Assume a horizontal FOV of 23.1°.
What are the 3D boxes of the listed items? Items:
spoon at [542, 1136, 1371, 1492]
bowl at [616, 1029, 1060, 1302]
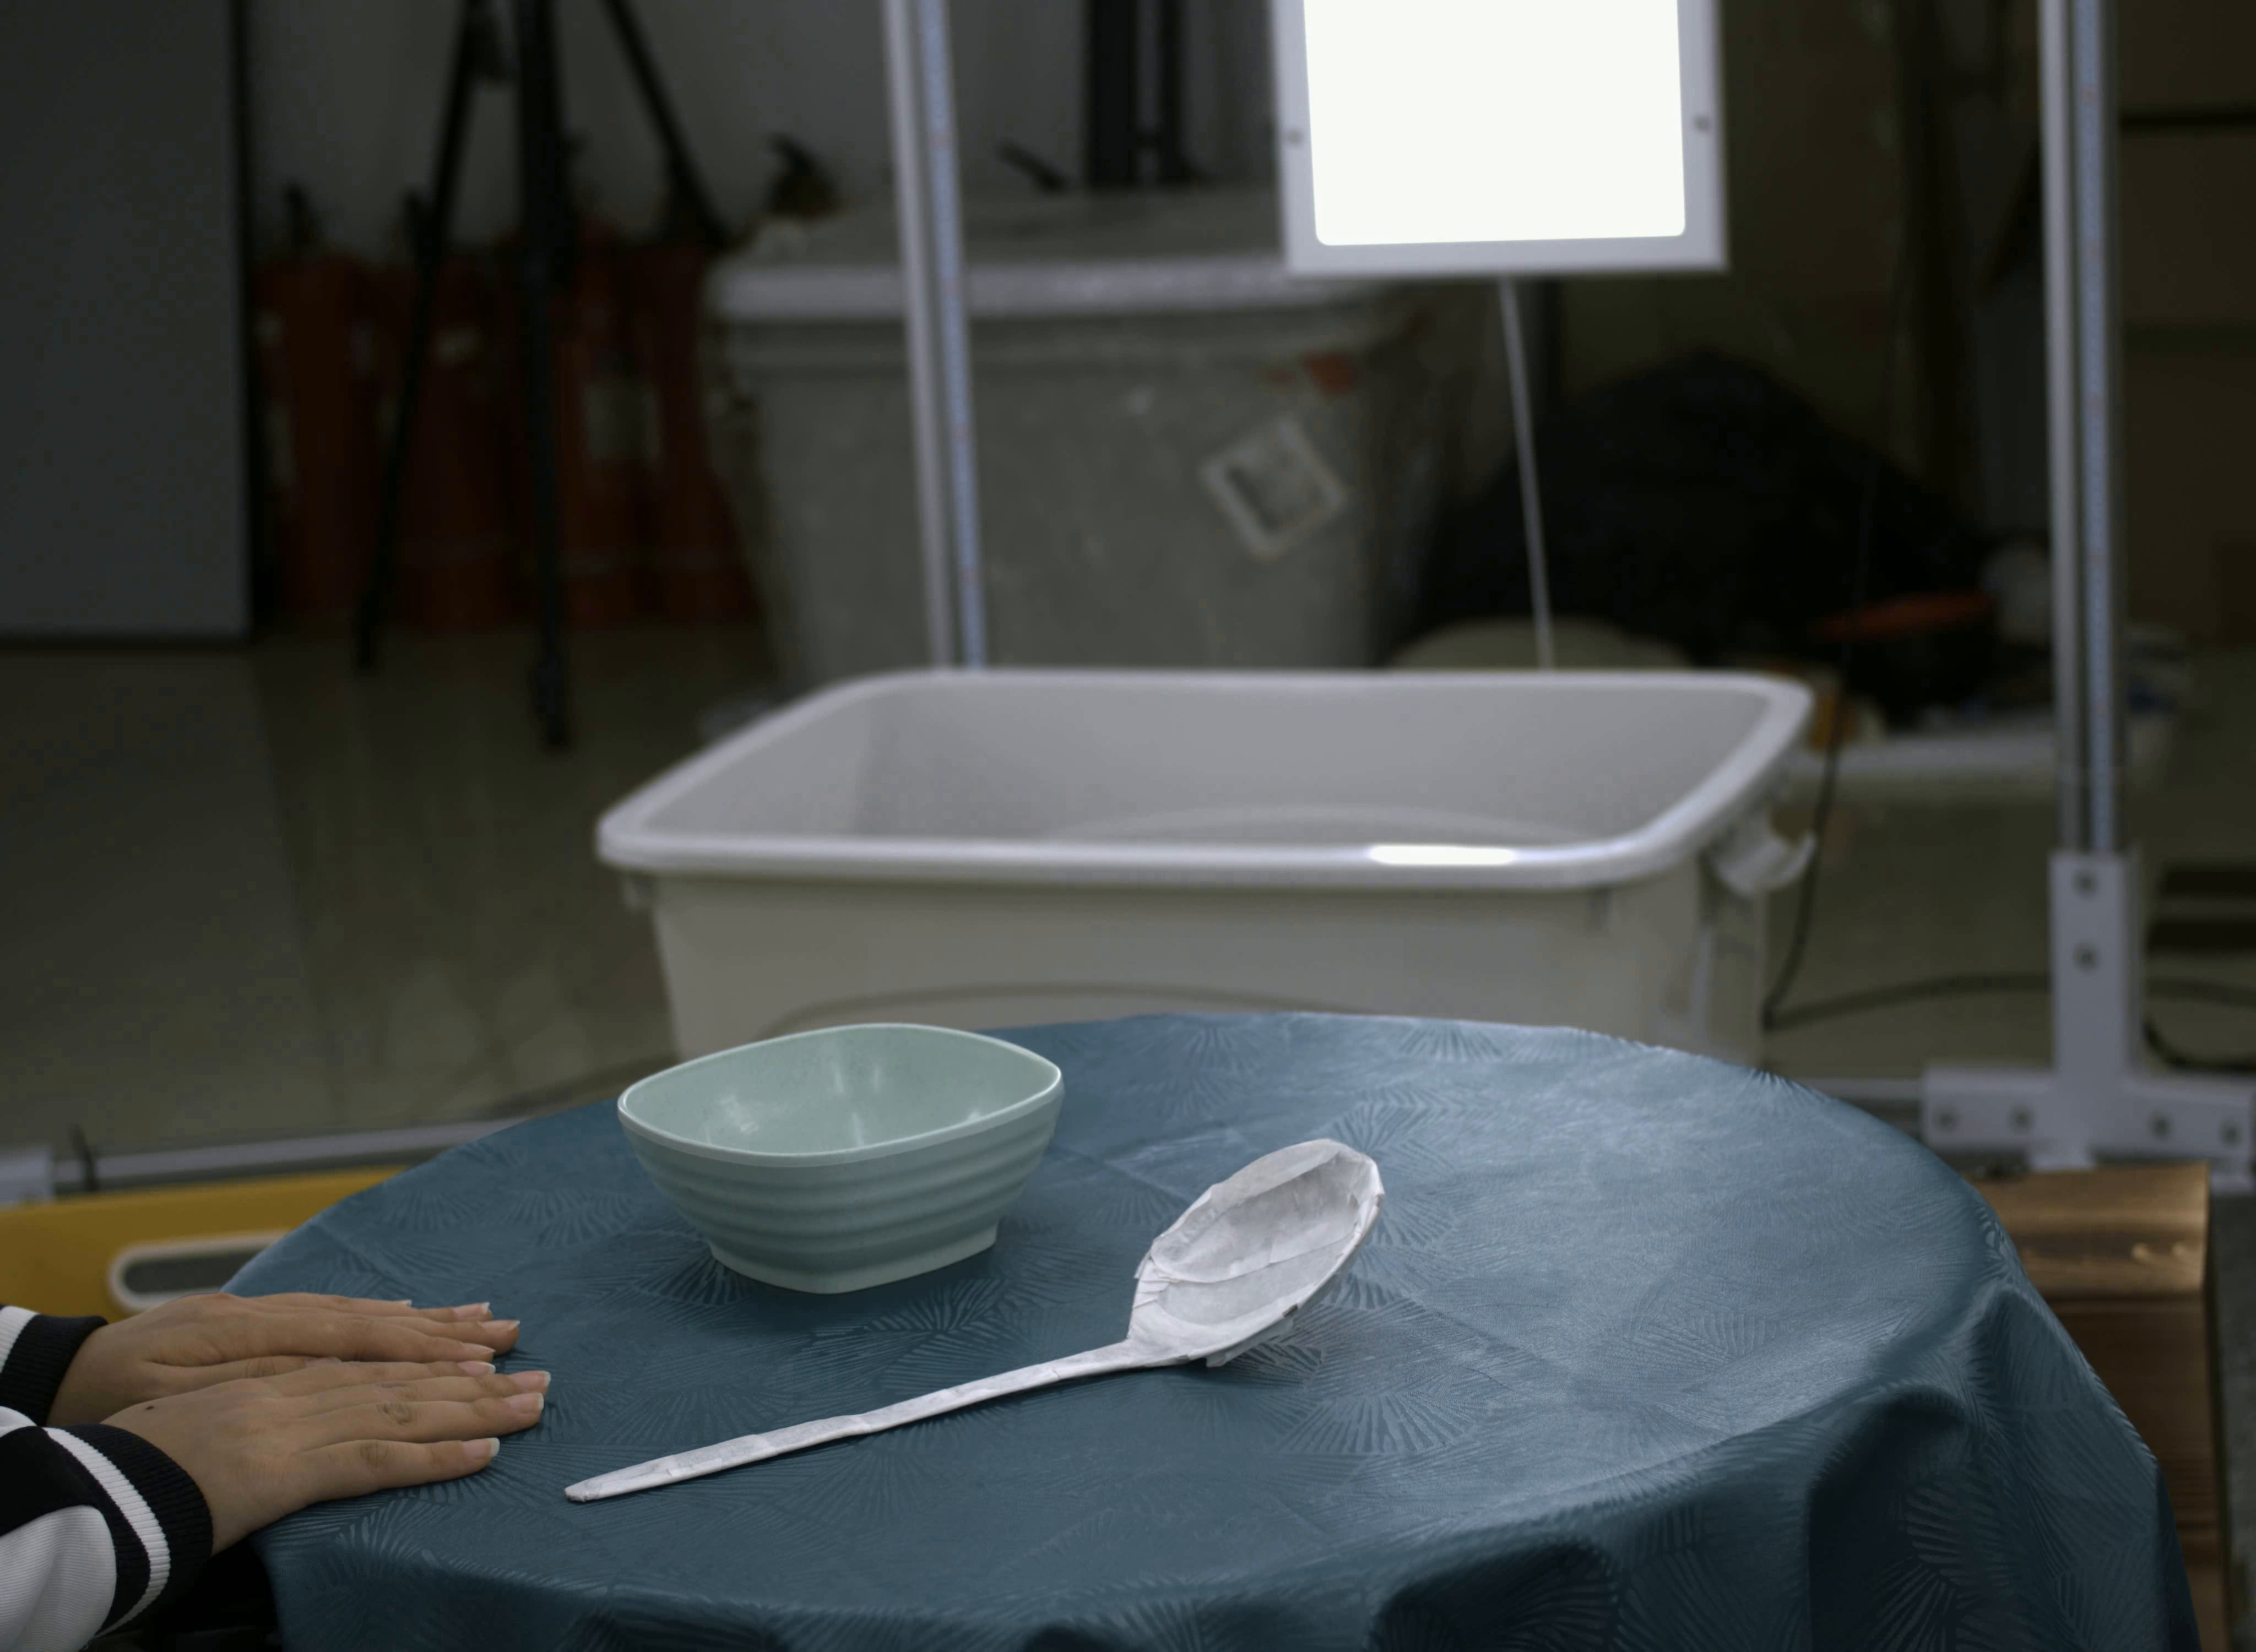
[{"bbox_3d":[-0.053,0.149,1.706,0.272,0.059,0.102,-10,10,-19],"label":"spoon"},{"bbox_3d":[-0.096,0.117,1.859,0.151,0.059,0.151,-4,14,0],"label":"bowl"}]
